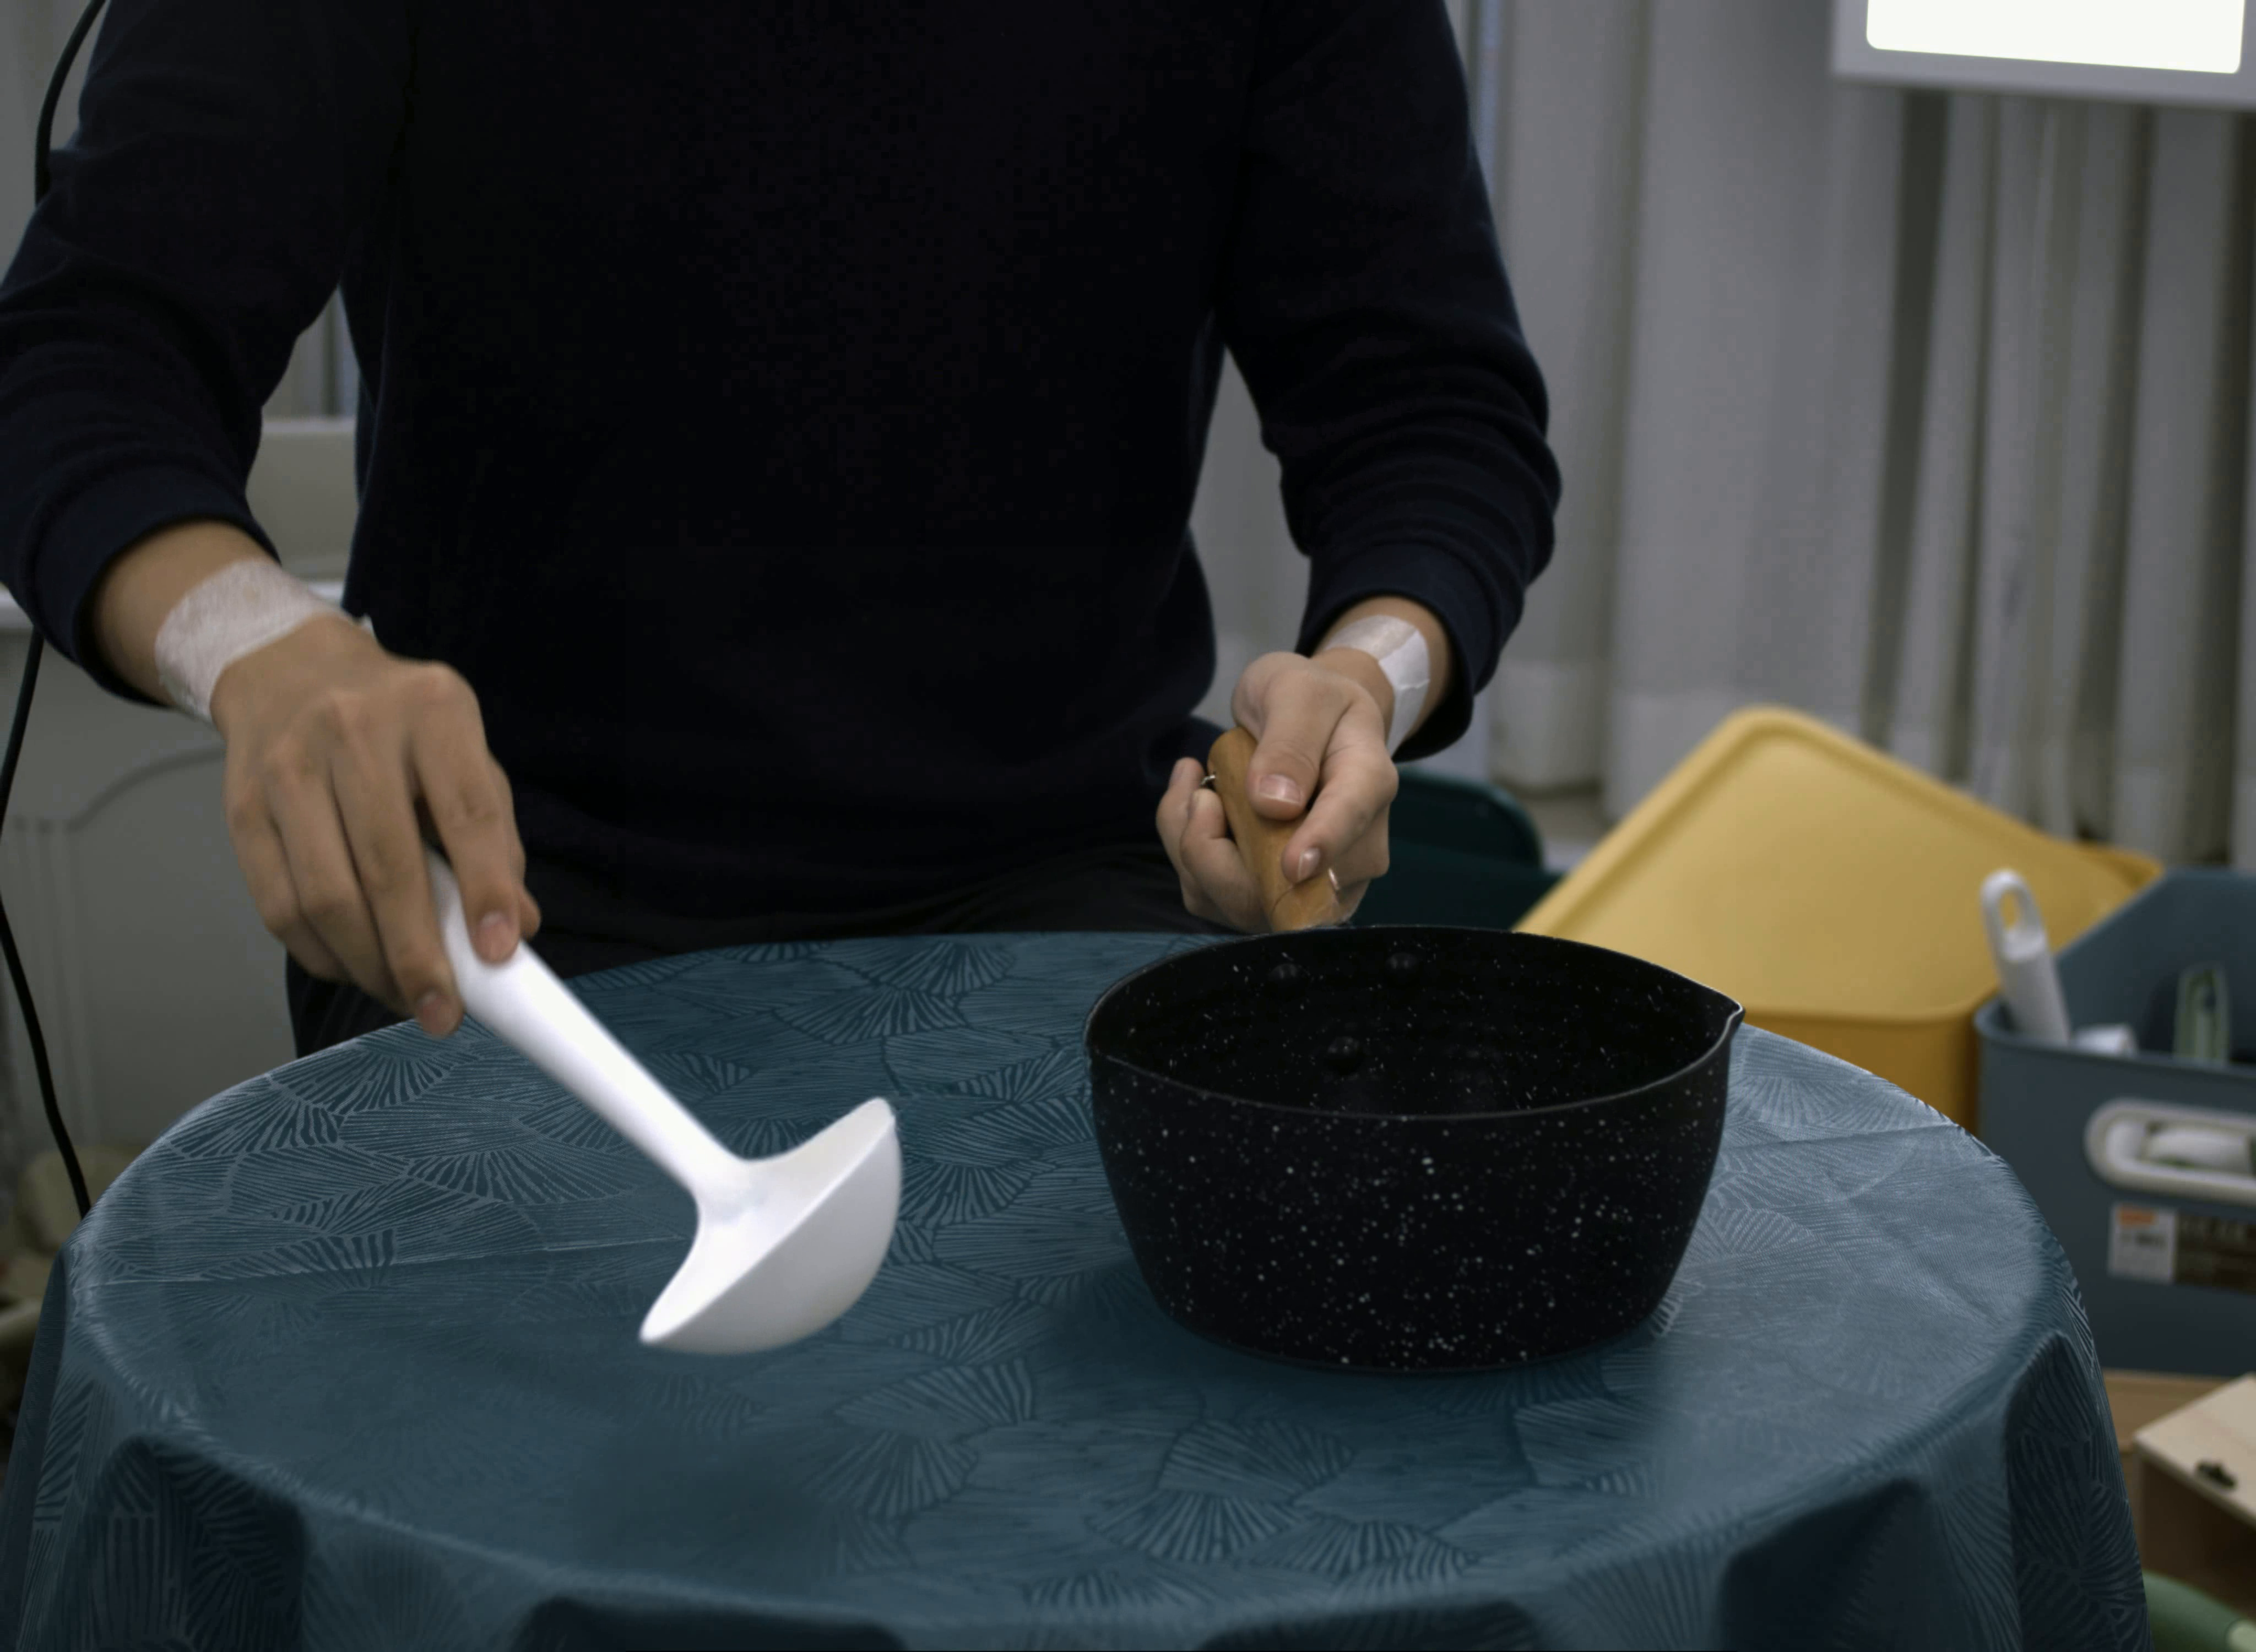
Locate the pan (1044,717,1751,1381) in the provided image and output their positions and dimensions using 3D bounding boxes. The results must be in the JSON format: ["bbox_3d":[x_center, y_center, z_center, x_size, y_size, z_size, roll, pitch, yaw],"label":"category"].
[{"bbox_3d":[0.066,0.062,1.602,0.207,0.109,0.339,-4,17,-11],"label":"pan"}]

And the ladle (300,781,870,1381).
[{"bbox_3d":[-0.160,0.058,1.444,0.289,0.090,0.071,40,-1,43],"label":"ladle"}]
